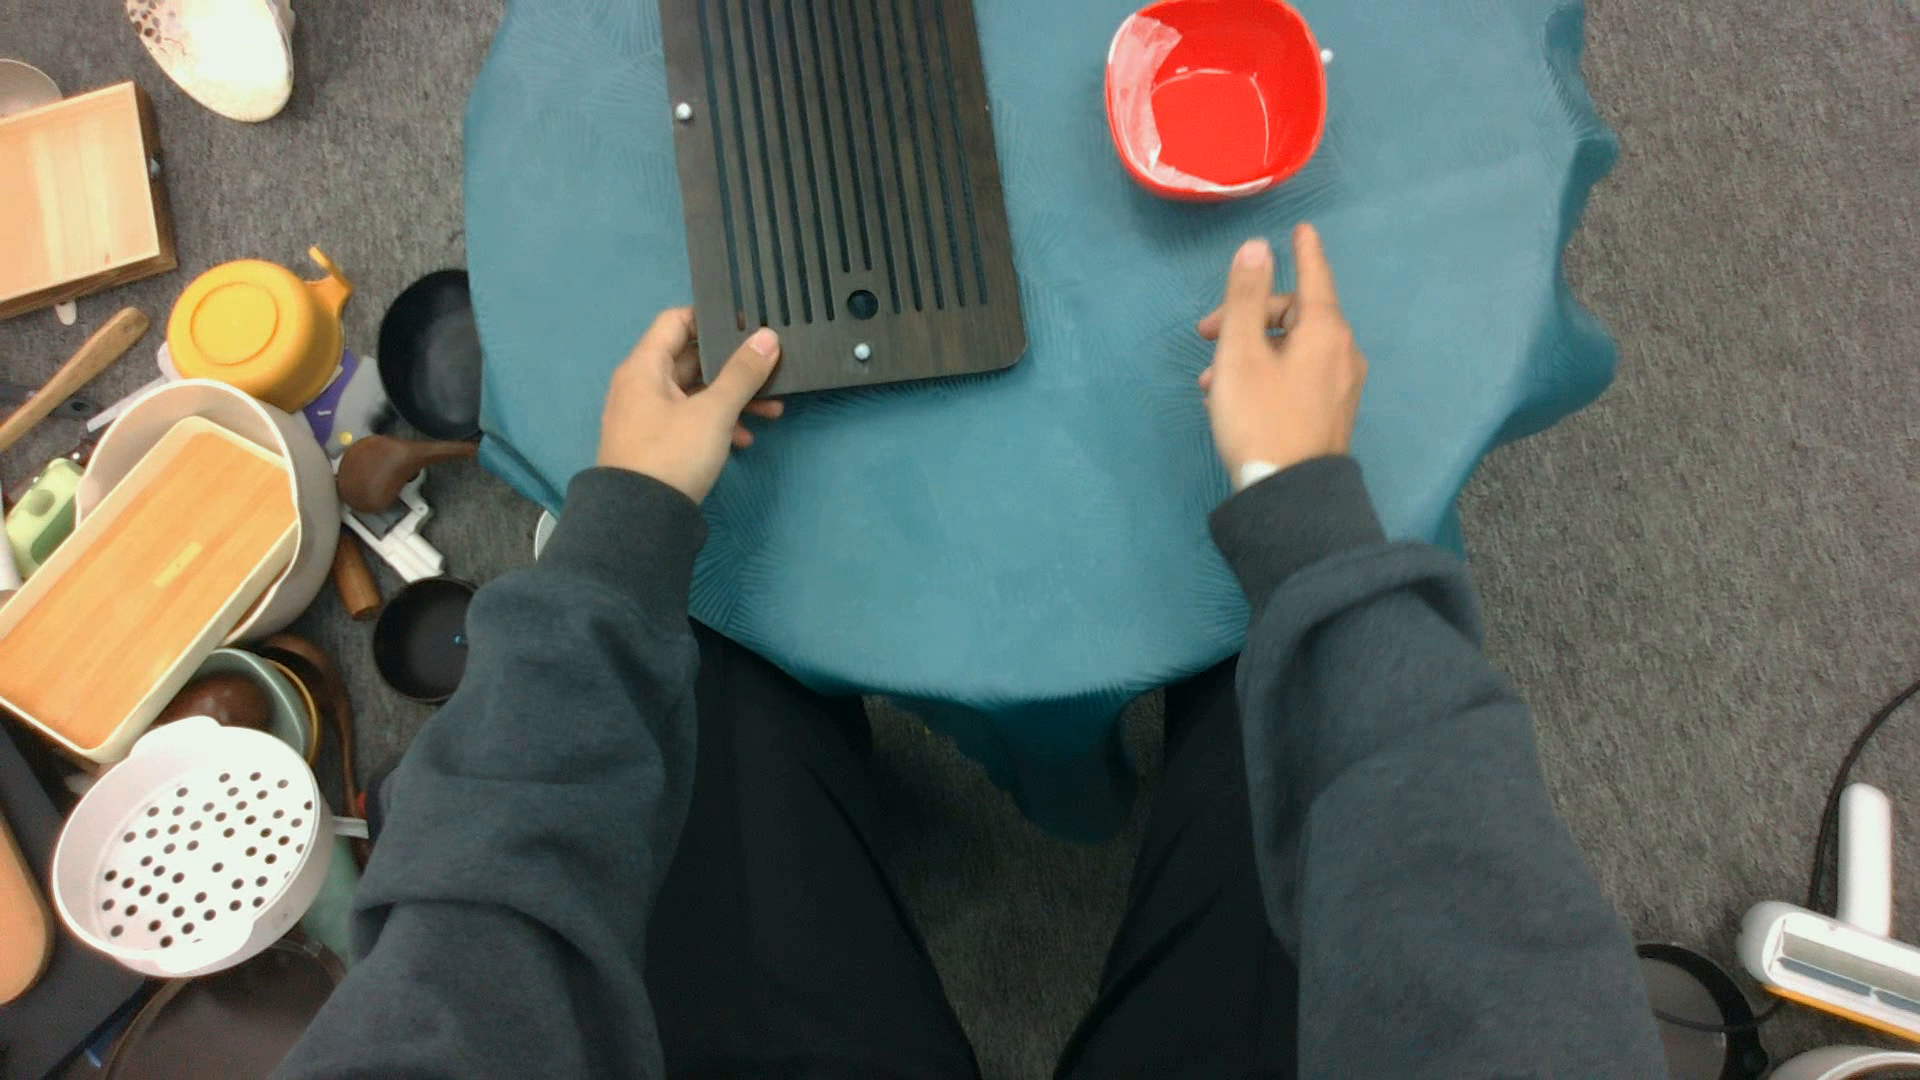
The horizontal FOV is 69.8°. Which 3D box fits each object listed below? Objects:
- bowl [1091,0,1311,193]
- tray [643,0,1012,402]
[{"bbox_3d":[0.124,-0.225,0.723,0.119,0.051,0.119,-1,74,3],"label":"bowl"},{"bbox_3d":[-0.078,-0.227,0.746,0.170,0.018,0.306,-8,78,-6],"label":"tray"}]
